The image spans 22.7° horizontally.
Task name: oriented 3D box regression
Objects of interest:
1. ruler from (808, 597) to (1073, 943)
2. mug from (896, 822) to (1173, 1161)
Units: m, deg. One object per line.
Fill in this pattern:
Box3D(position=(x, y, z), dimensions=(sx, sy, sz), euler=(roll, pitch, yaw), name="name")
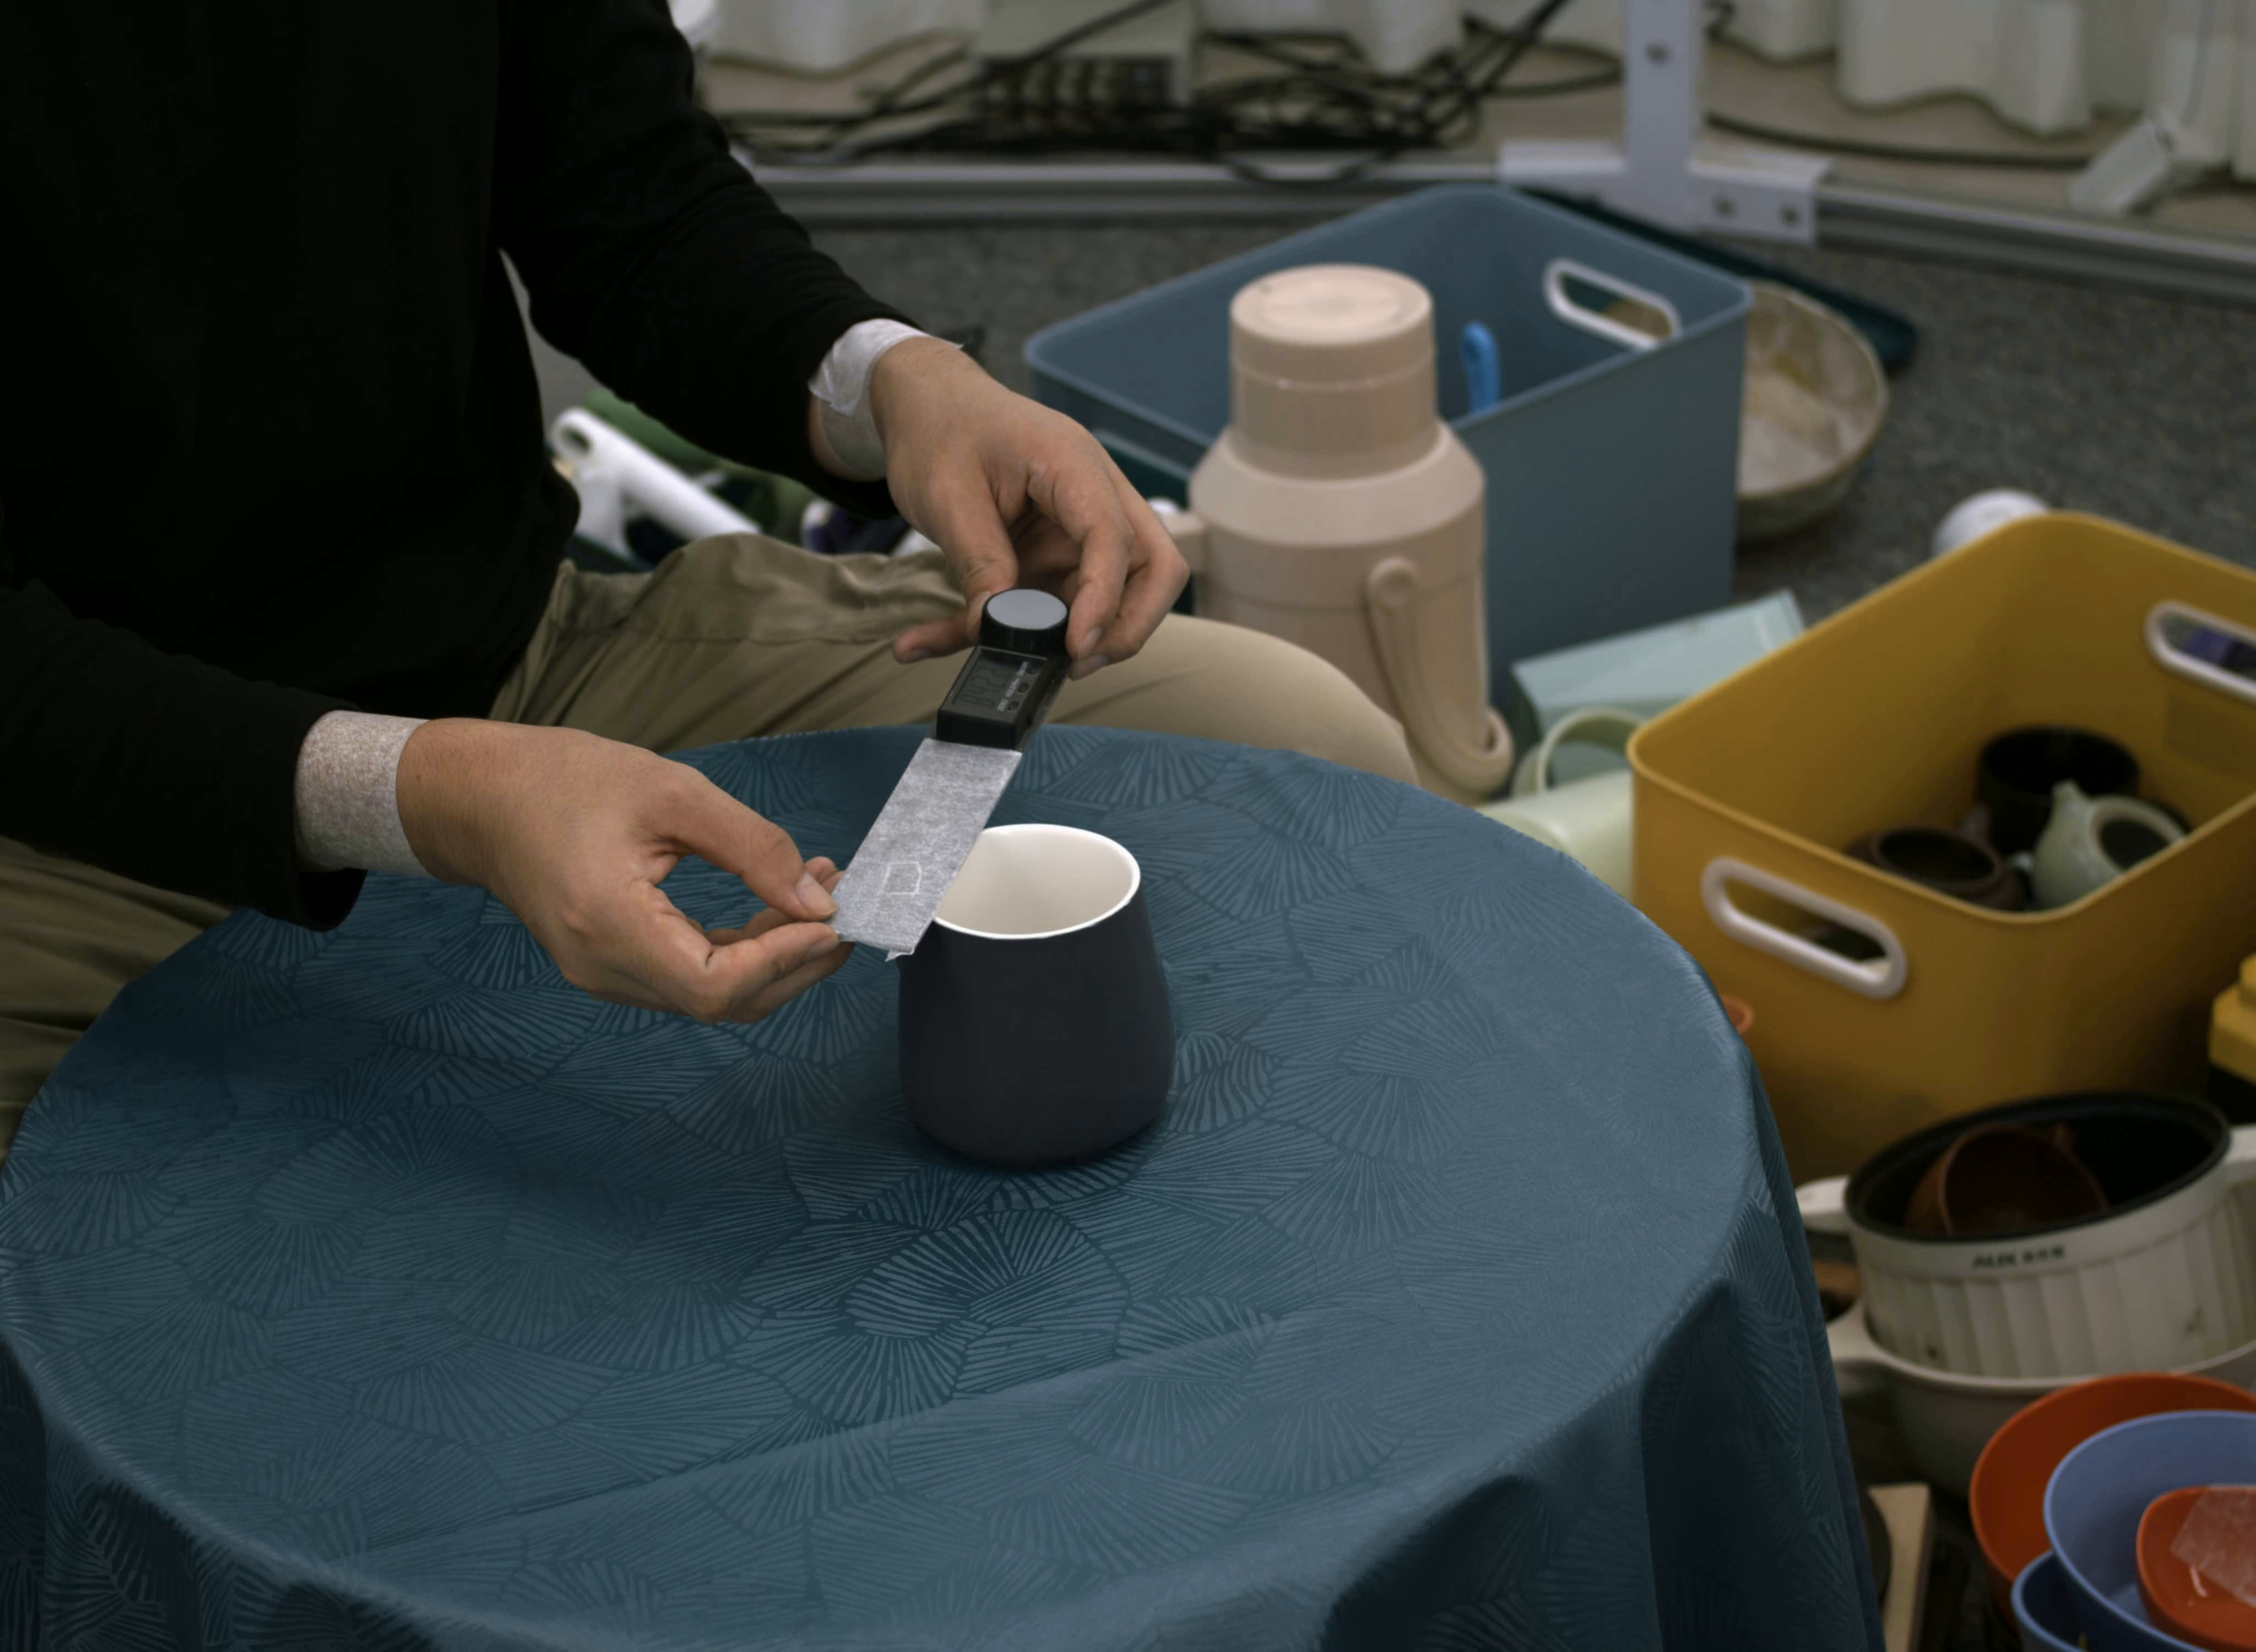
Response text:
Box3D(position=(-0.061, -0.022, 1.919), dimensions=(0.038, 0.024, 0.222), euler=(4, 28, 15), name="ruler")
Box3D(position=(-0.041, 0.051, 1.902), dimensions=(0.094, 0.089, 0.123), euler=(-19, 32, -30), name="mug")
